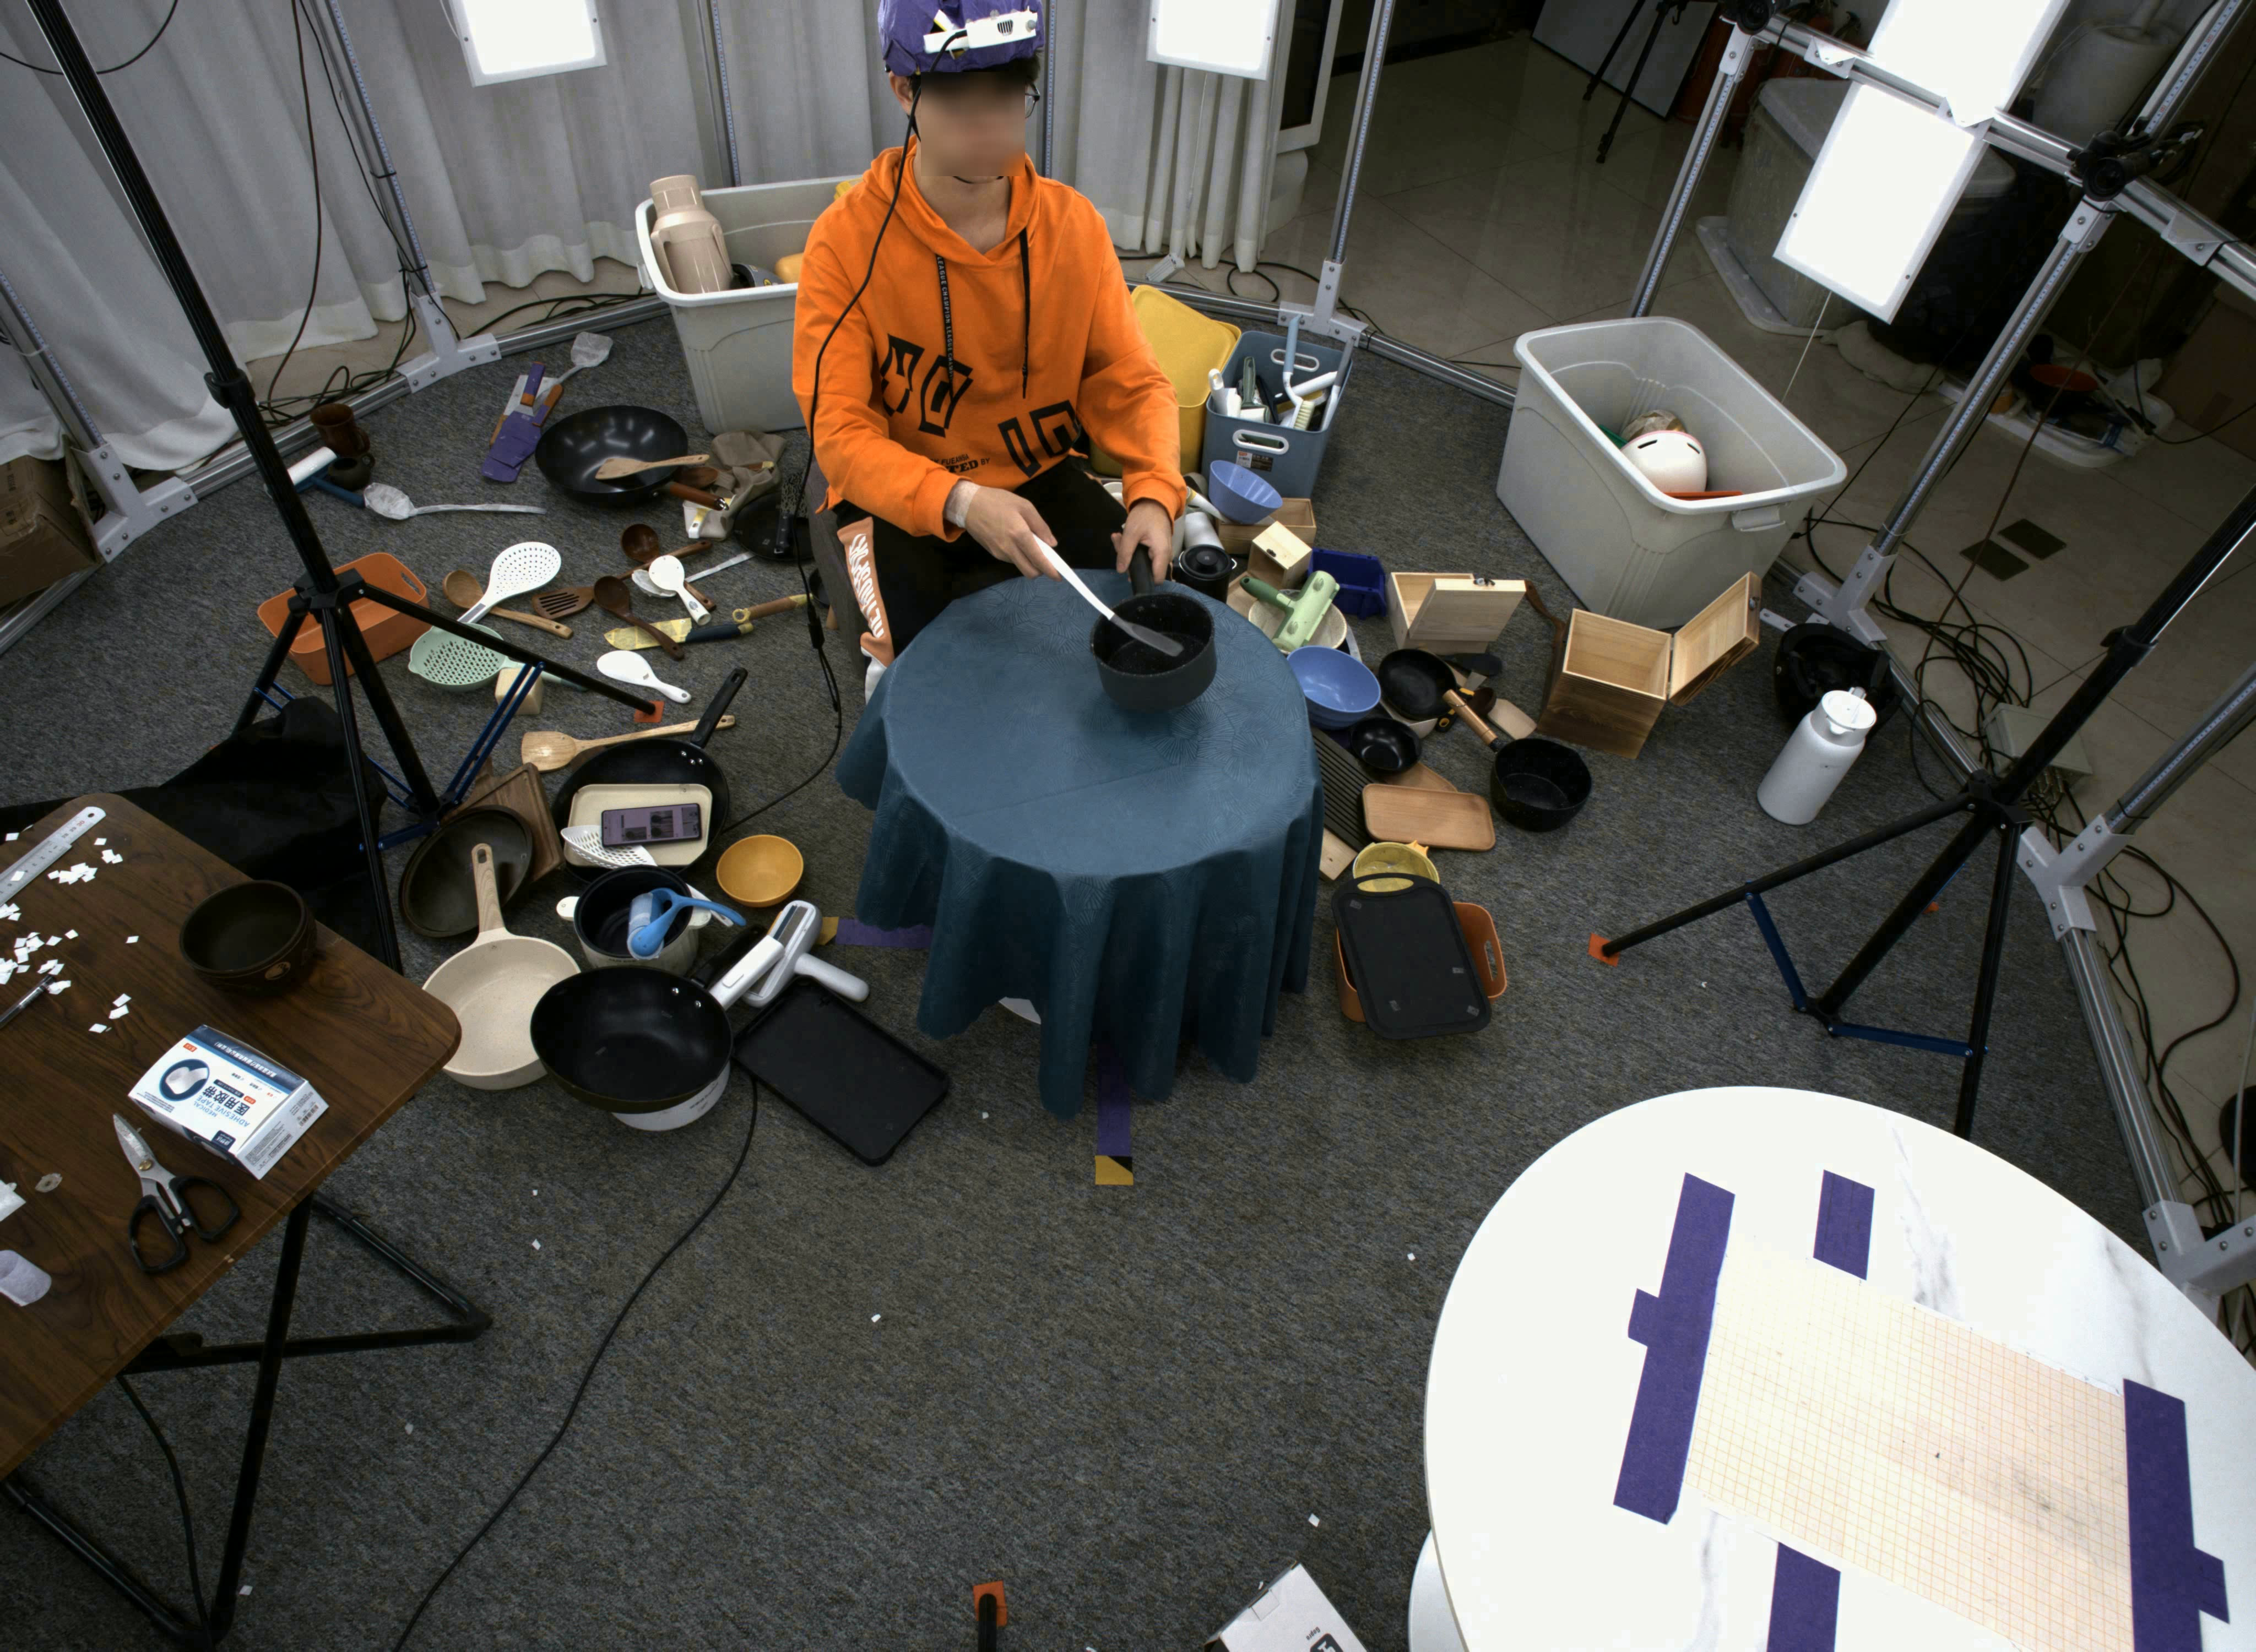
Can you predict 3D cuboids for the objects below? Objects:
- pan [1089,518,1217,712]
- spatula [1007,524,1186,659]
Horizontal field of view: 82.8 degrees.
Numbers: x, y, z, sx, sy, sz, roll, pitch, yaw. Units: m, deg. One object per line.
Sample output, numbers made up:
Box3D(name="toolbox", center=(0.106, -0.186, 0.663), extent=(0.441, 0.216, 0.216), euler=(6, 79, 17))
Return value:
Box3D(name="pan", center=(0.032, -0.300, 1.816), extent=(0.172, 0.084, 0.337), euler=(-8, 49, 4))
Box3D(name="spatula", center=(-0.043, -0.316, 1.770), extent=(0.288, 0.032, 0.059), euler=(38, 25, 3))
